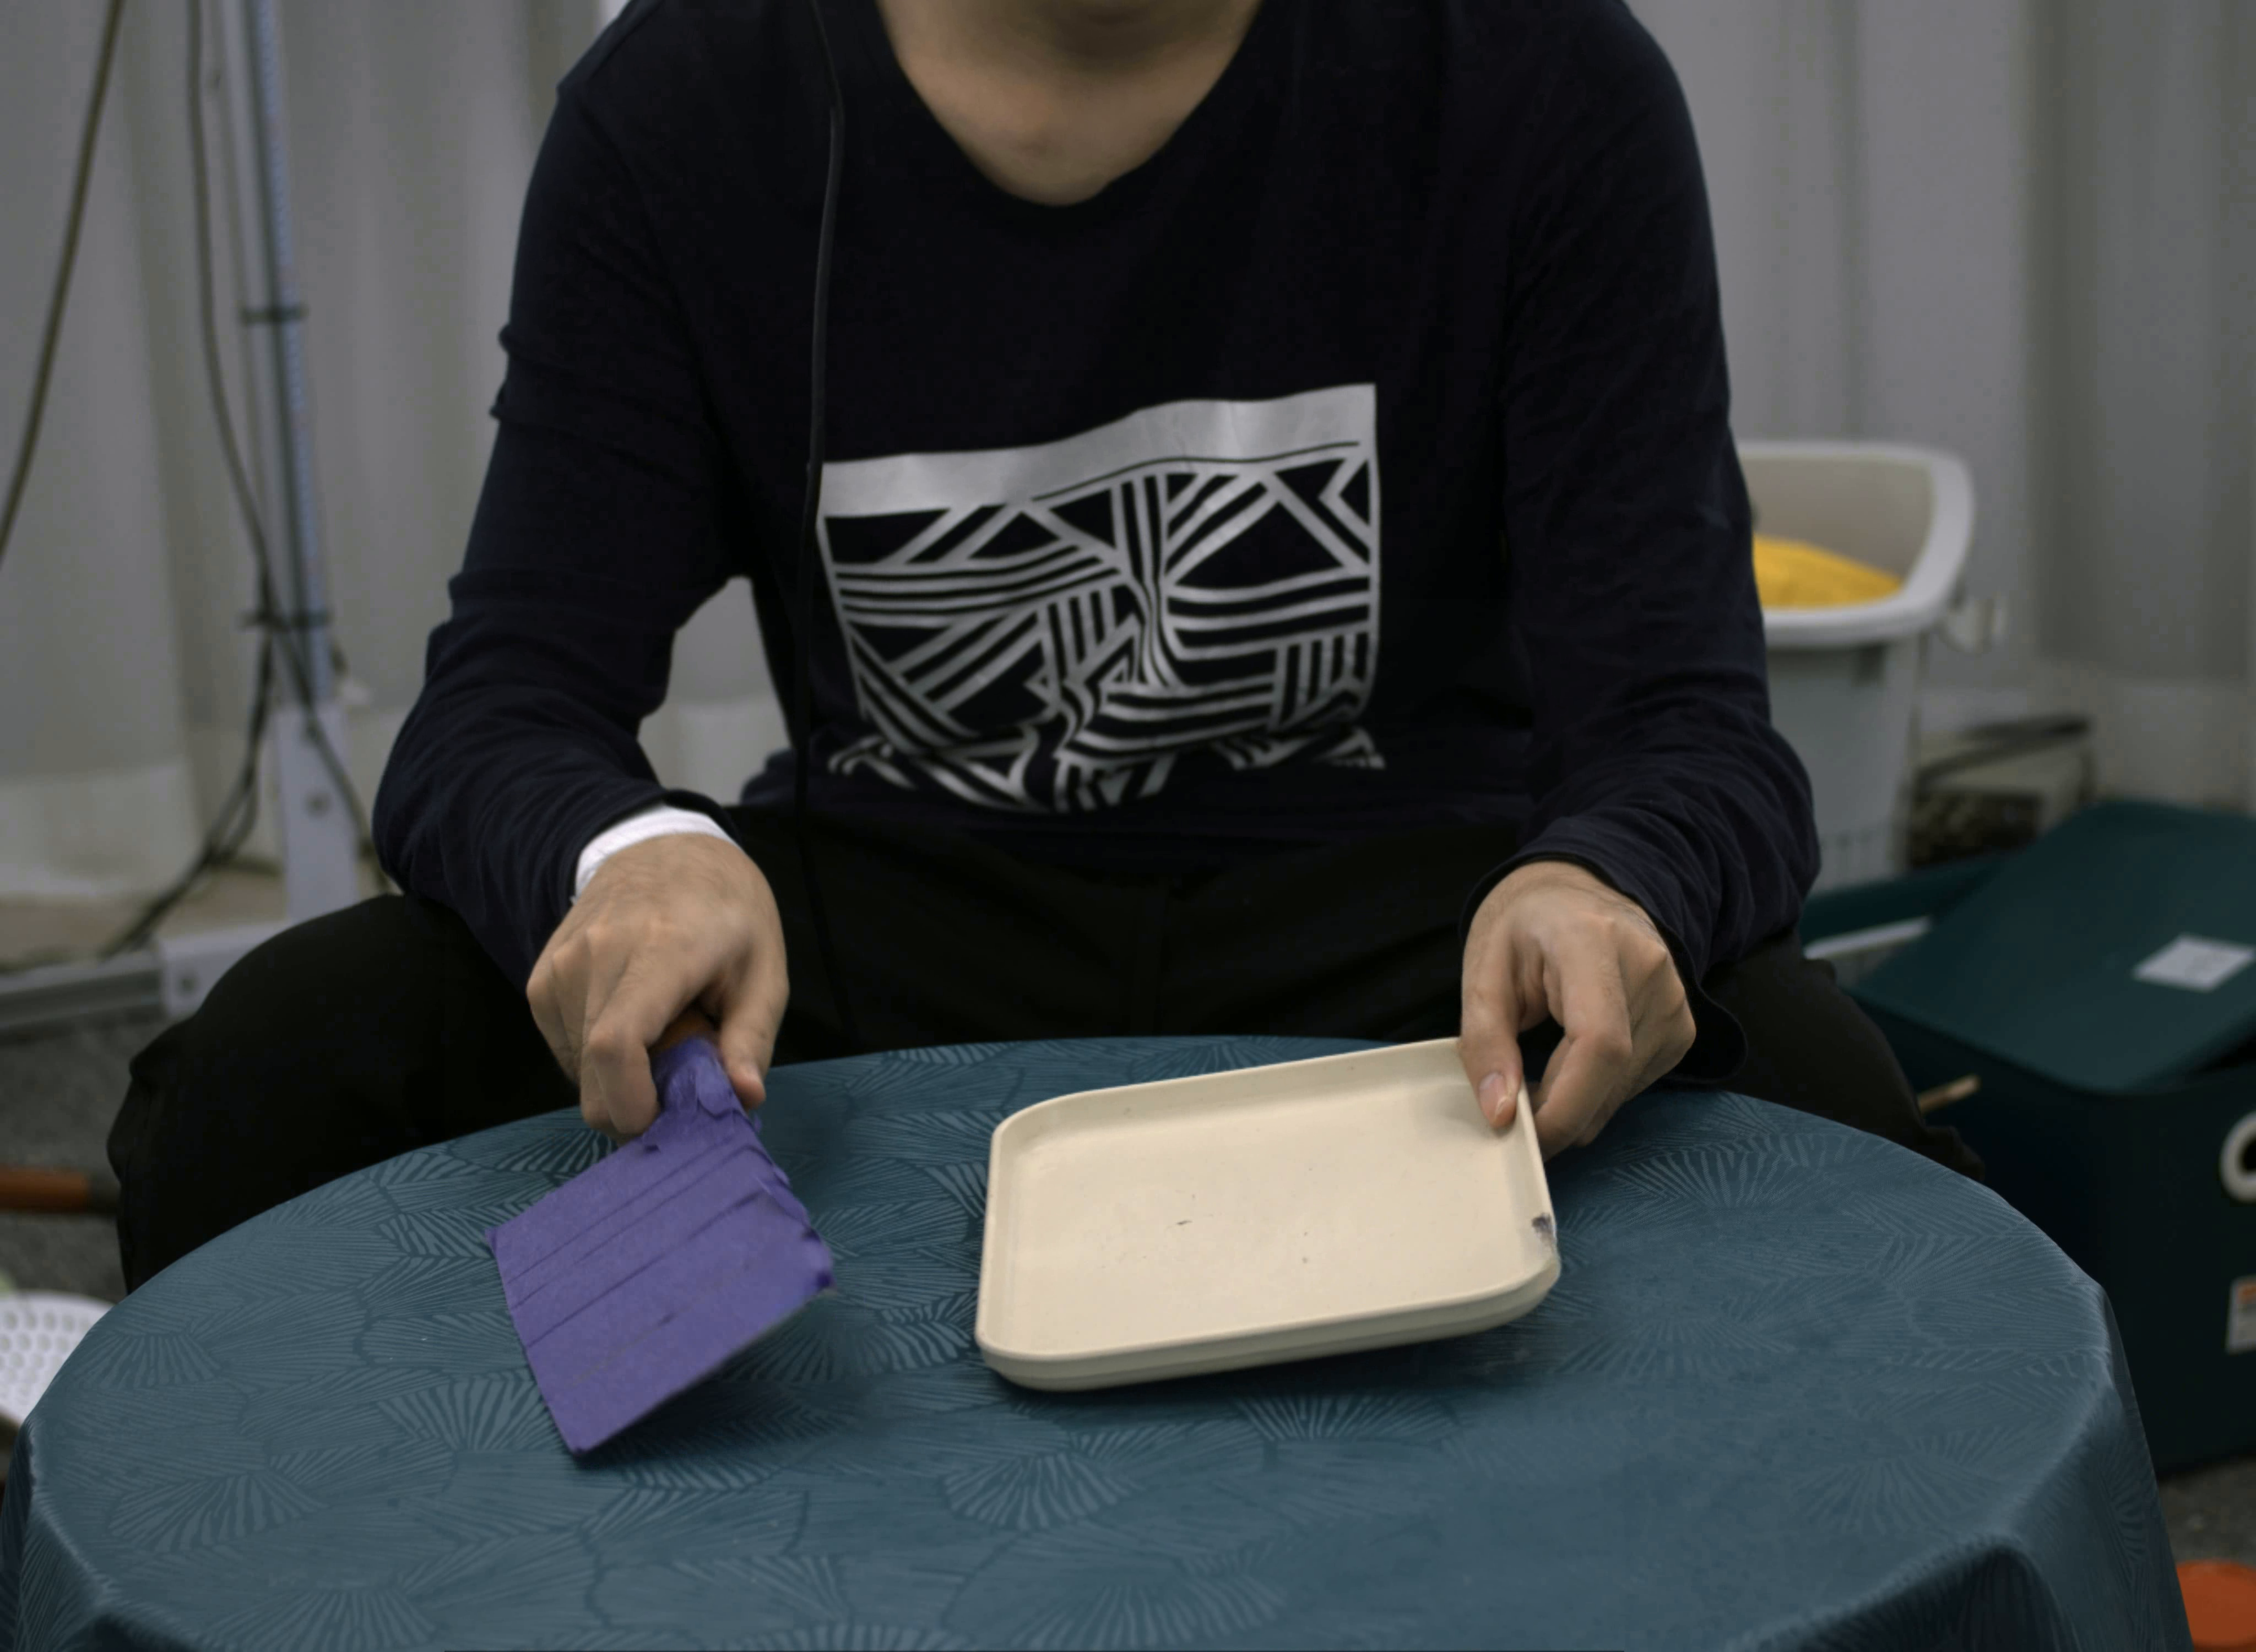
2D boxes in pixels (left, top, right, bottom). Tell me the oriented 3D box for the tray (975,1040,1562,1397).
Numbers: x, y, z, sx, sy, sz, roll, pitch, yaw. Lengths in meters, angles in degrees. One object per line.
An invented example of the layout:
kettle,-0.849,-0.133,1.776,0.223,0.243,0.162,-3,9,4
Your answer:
tray,0.040,0.116,1.641,0.171,0.017,0.241,-9,15,3

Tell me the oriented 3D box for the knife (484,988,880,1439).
knife,-0.150,0.113,1.652,0.104,0.032,0.317,-30,16,-6
